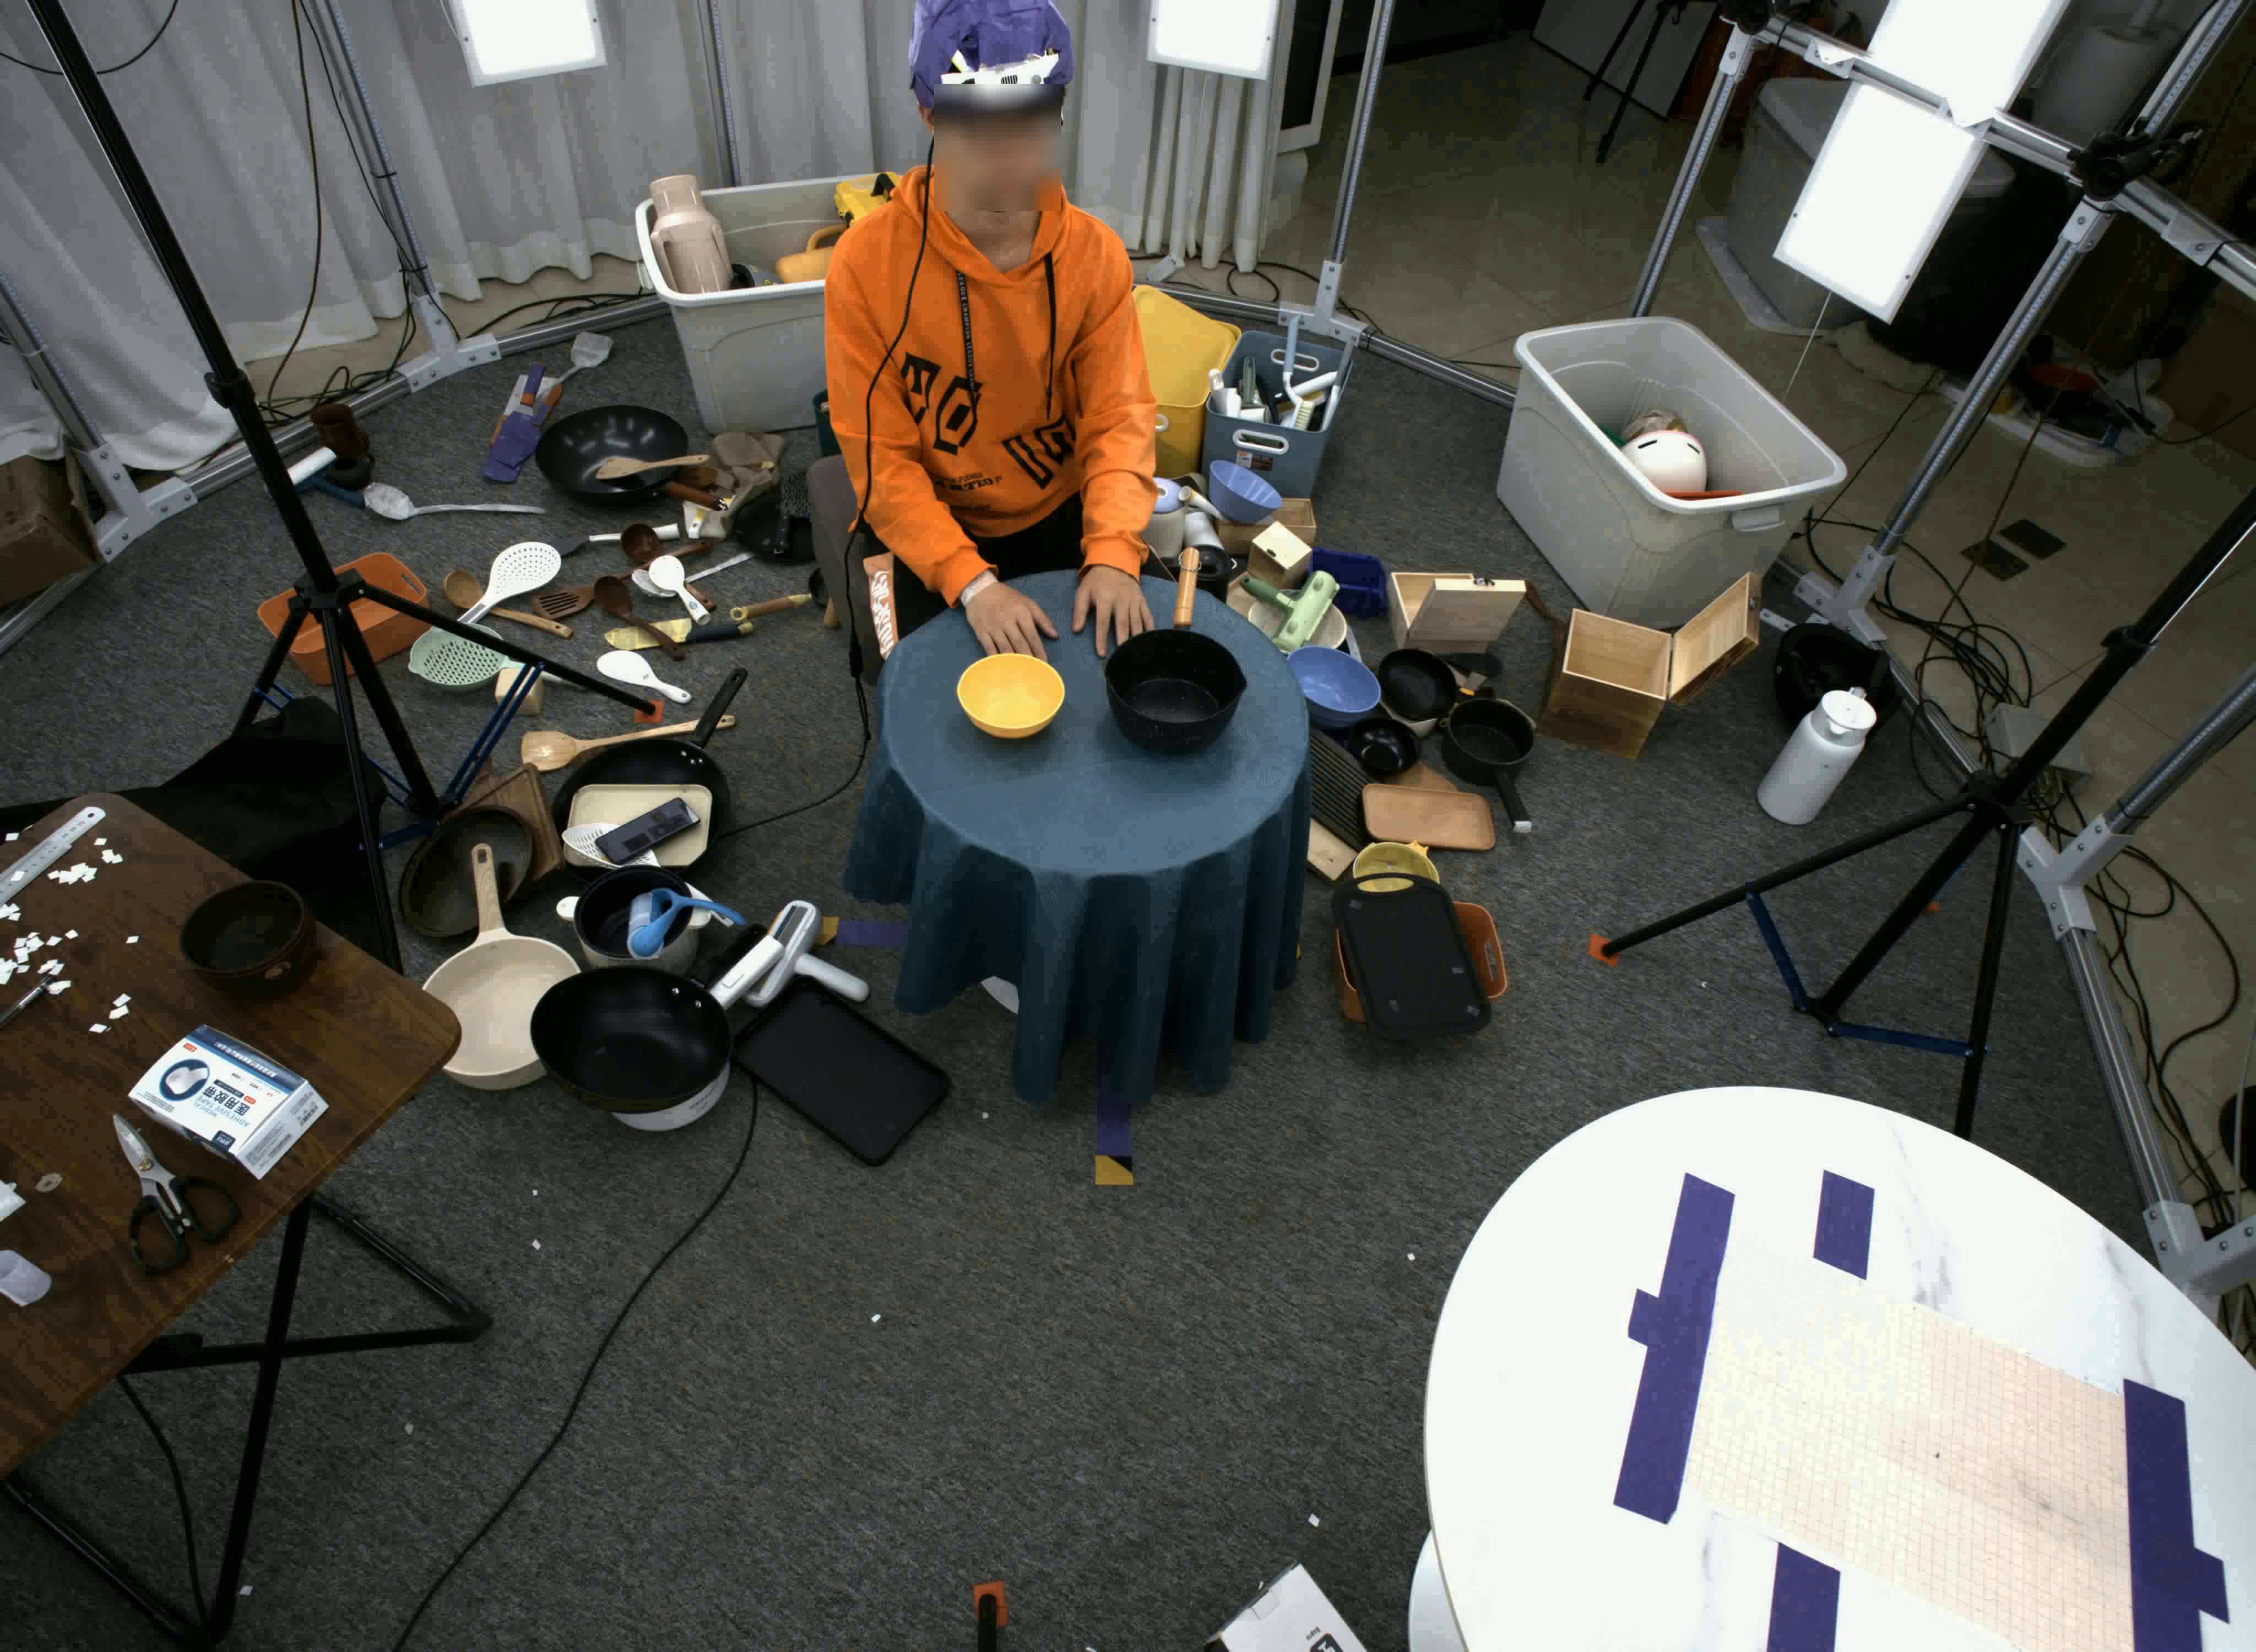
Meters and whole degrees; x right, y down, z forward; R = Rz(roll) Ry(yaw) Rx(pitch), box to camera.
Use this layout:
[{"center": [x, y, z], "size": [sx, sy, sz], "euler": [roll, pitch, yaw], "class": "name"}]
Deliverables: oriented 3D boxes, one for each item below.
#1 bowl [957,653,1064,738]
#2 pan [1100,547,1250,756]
[{"center": [-0.162, -0.168, 1.766], "size": [0.145, 0.058, 0.149], "euler": [3, 49, -4], "class": "bowl"}, {"center": [0.070, -0.249, 1.820], "size": [0.207, 0.105, 0.351], "euler": [6, 50, 3], "class": "pan"}]
